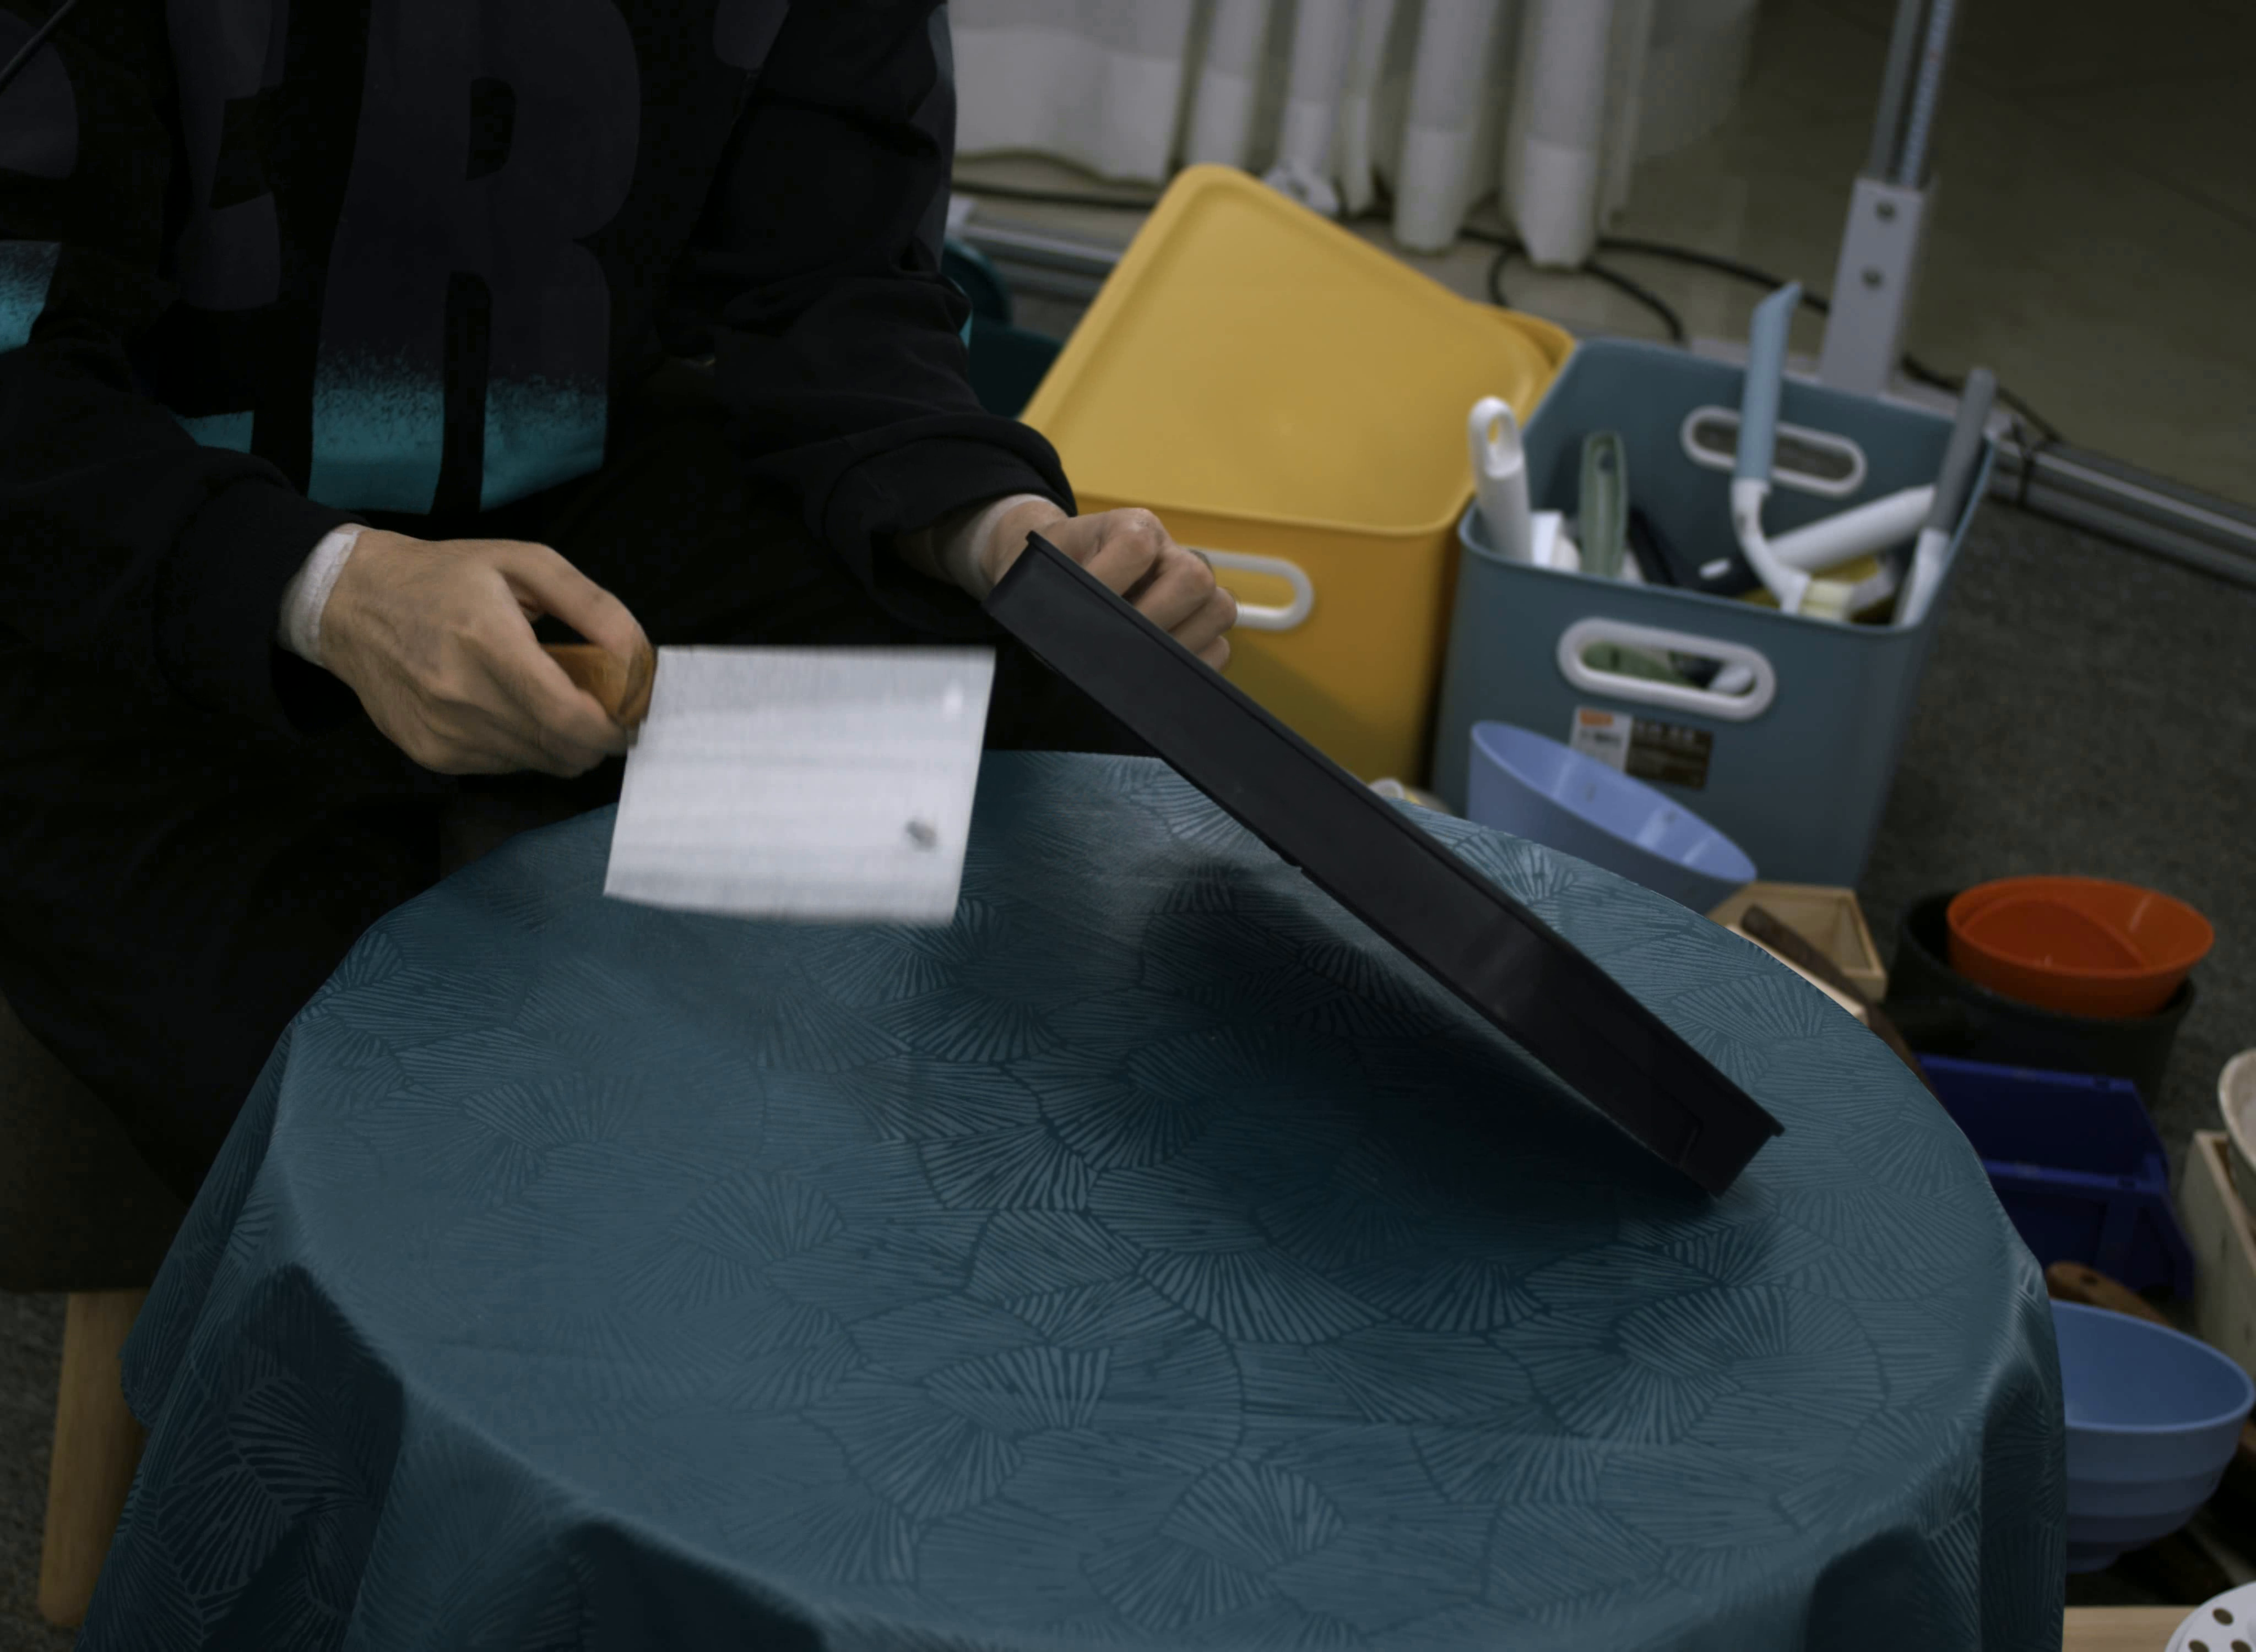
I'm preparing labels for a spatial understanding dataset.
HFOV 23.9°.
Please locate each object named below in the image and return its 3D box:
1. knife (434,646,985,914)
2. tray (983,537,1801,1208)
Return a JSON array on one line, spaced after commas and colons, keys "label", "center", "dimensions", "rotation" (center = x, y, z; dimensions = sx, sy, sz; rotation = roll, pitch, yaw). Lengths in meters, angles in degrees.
[{"label": "knife", "center": [-0.153, -0.015, 1.854], "dimensions": [0.021, 0.093, 0.307], "rotation": [14, -6, -41]}, {"label": "tray", "center": [0.089, 0.014, 1.870], "dimensions": [0.321, 0.037, 0.182], "rotation": [38, 0, 42]}]
